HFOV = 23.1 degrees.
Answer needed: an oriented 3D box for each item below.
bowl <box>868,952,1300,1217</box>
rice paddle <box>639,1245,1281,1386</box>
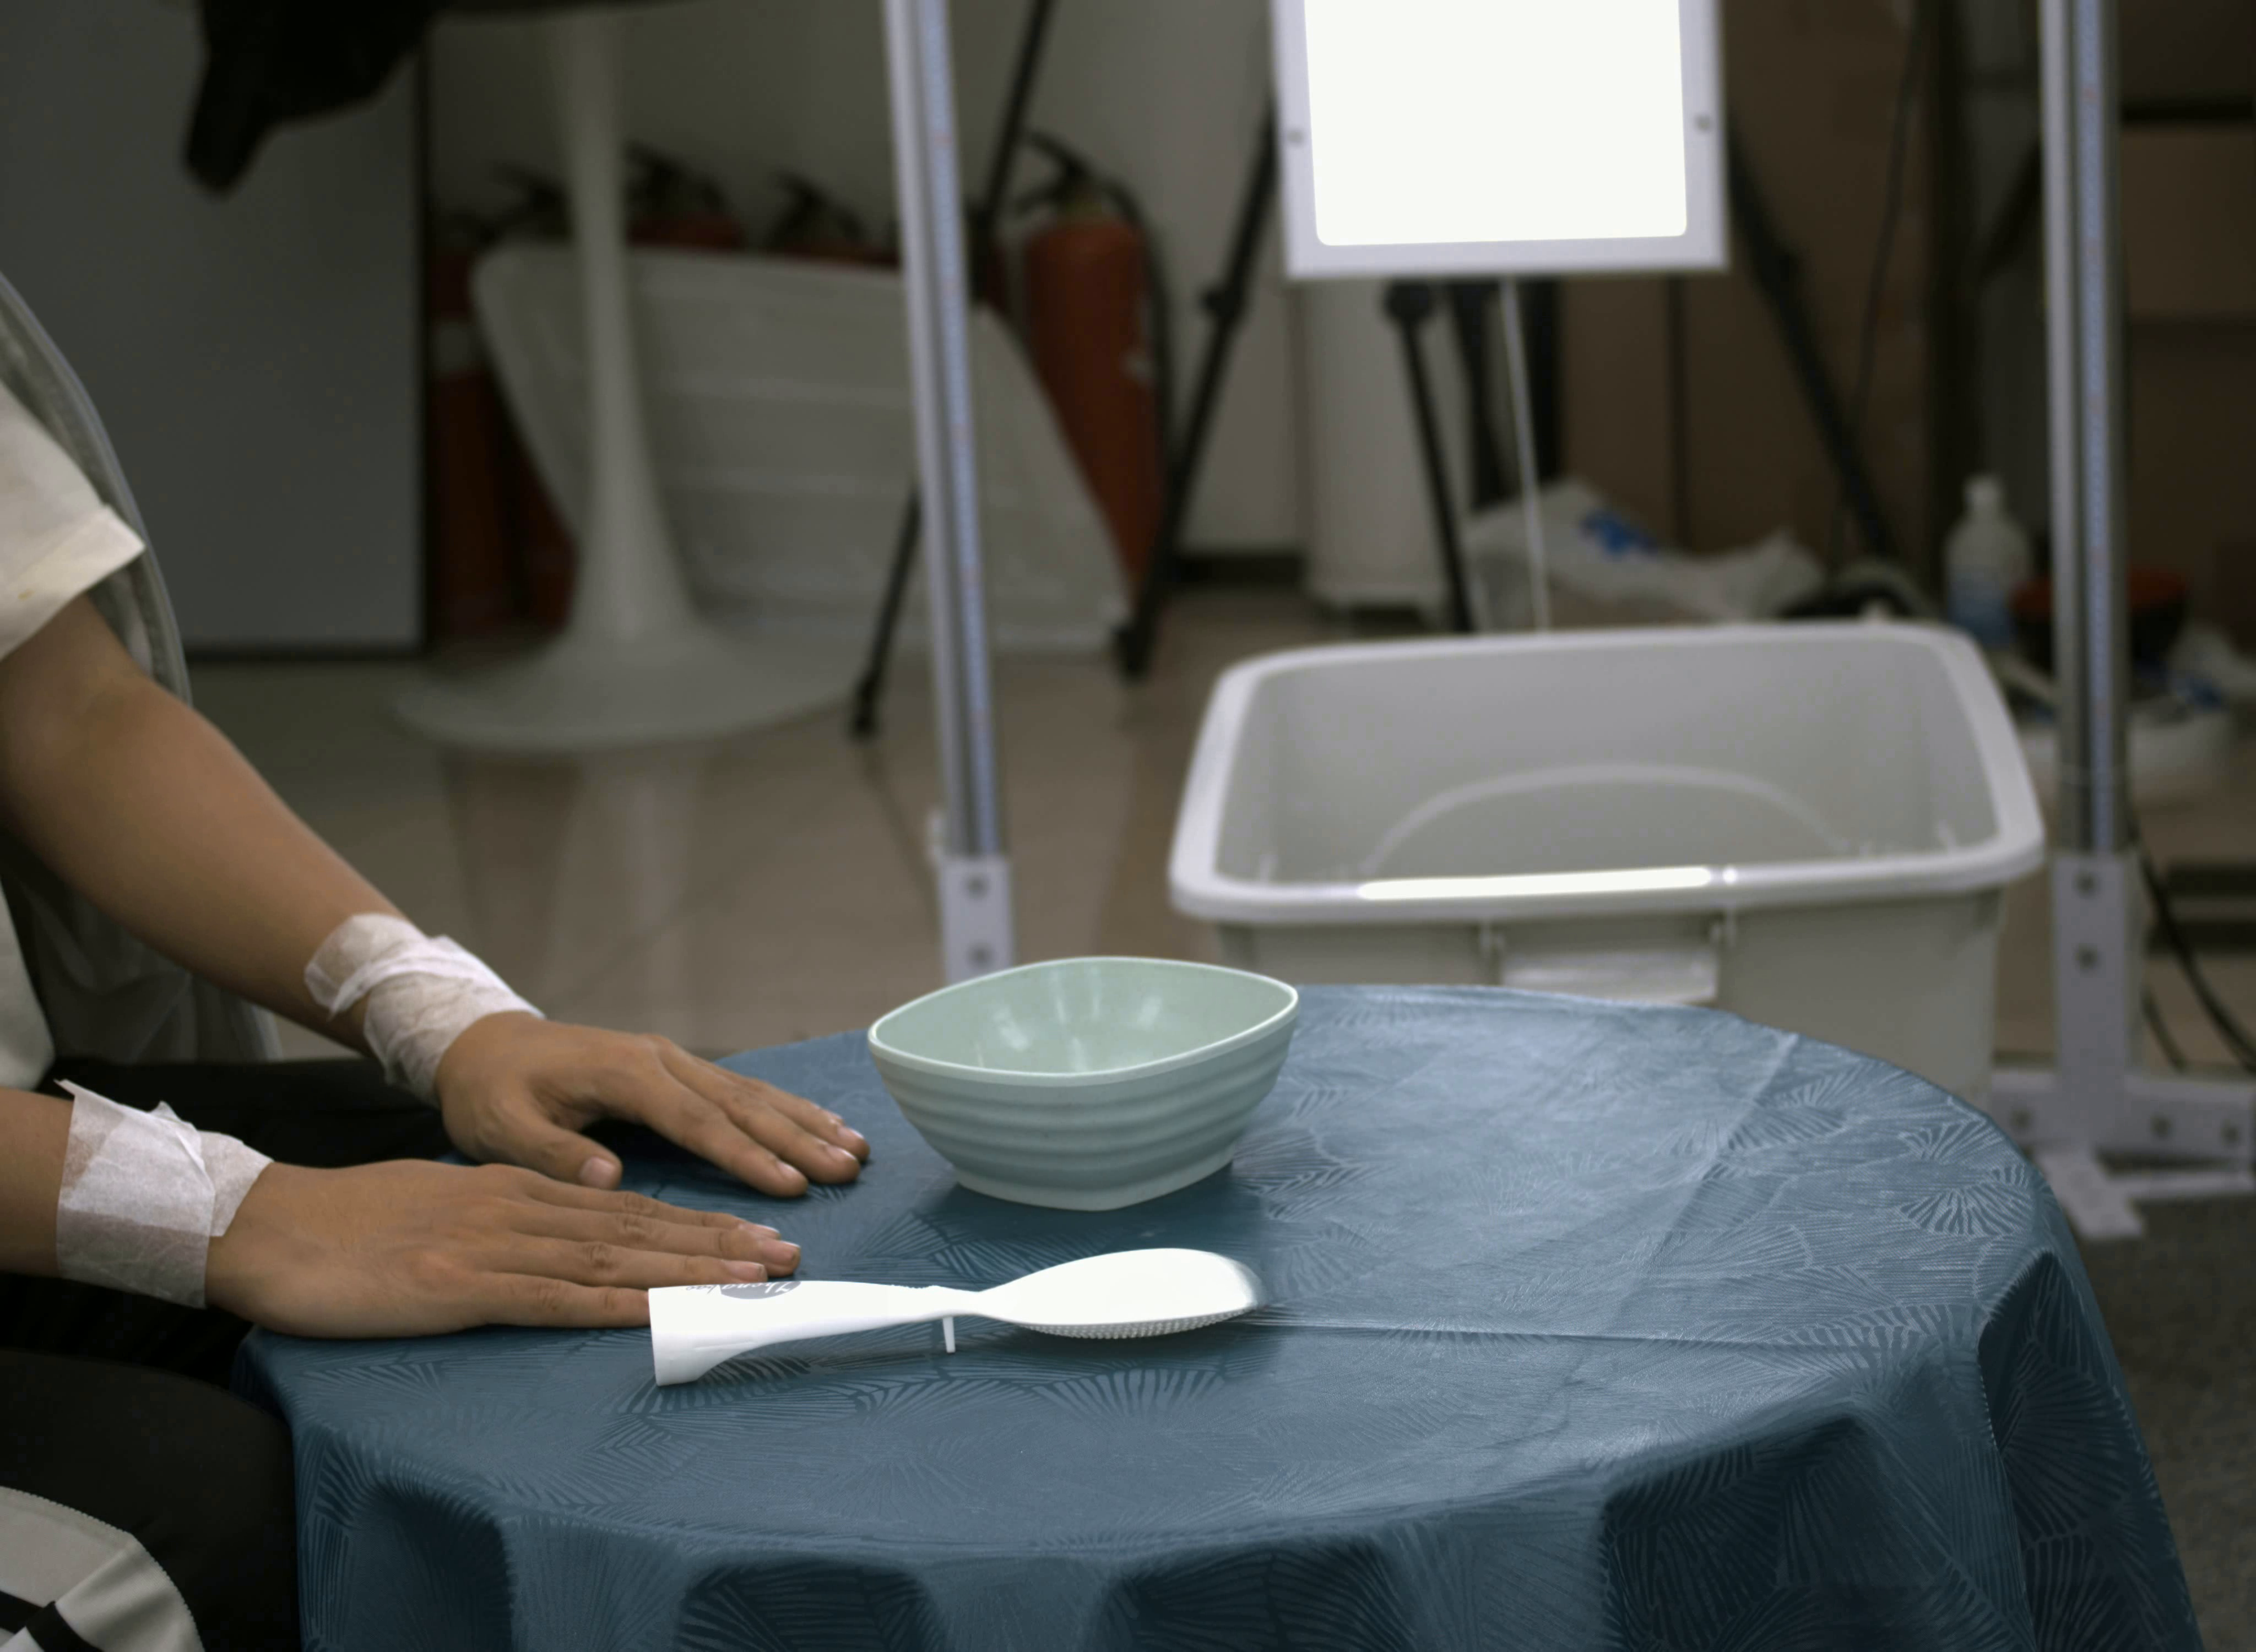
[{"bbox_3d":[-0.014,0.093,1.921,0.151,0.059,0.151,-4,15,0],"label":"bowl"},{"bbox_3d":[-0.052,0.151,1.752,0.204,0.029,0.069,-6,15,-2],"label":"rice paddle"}]
